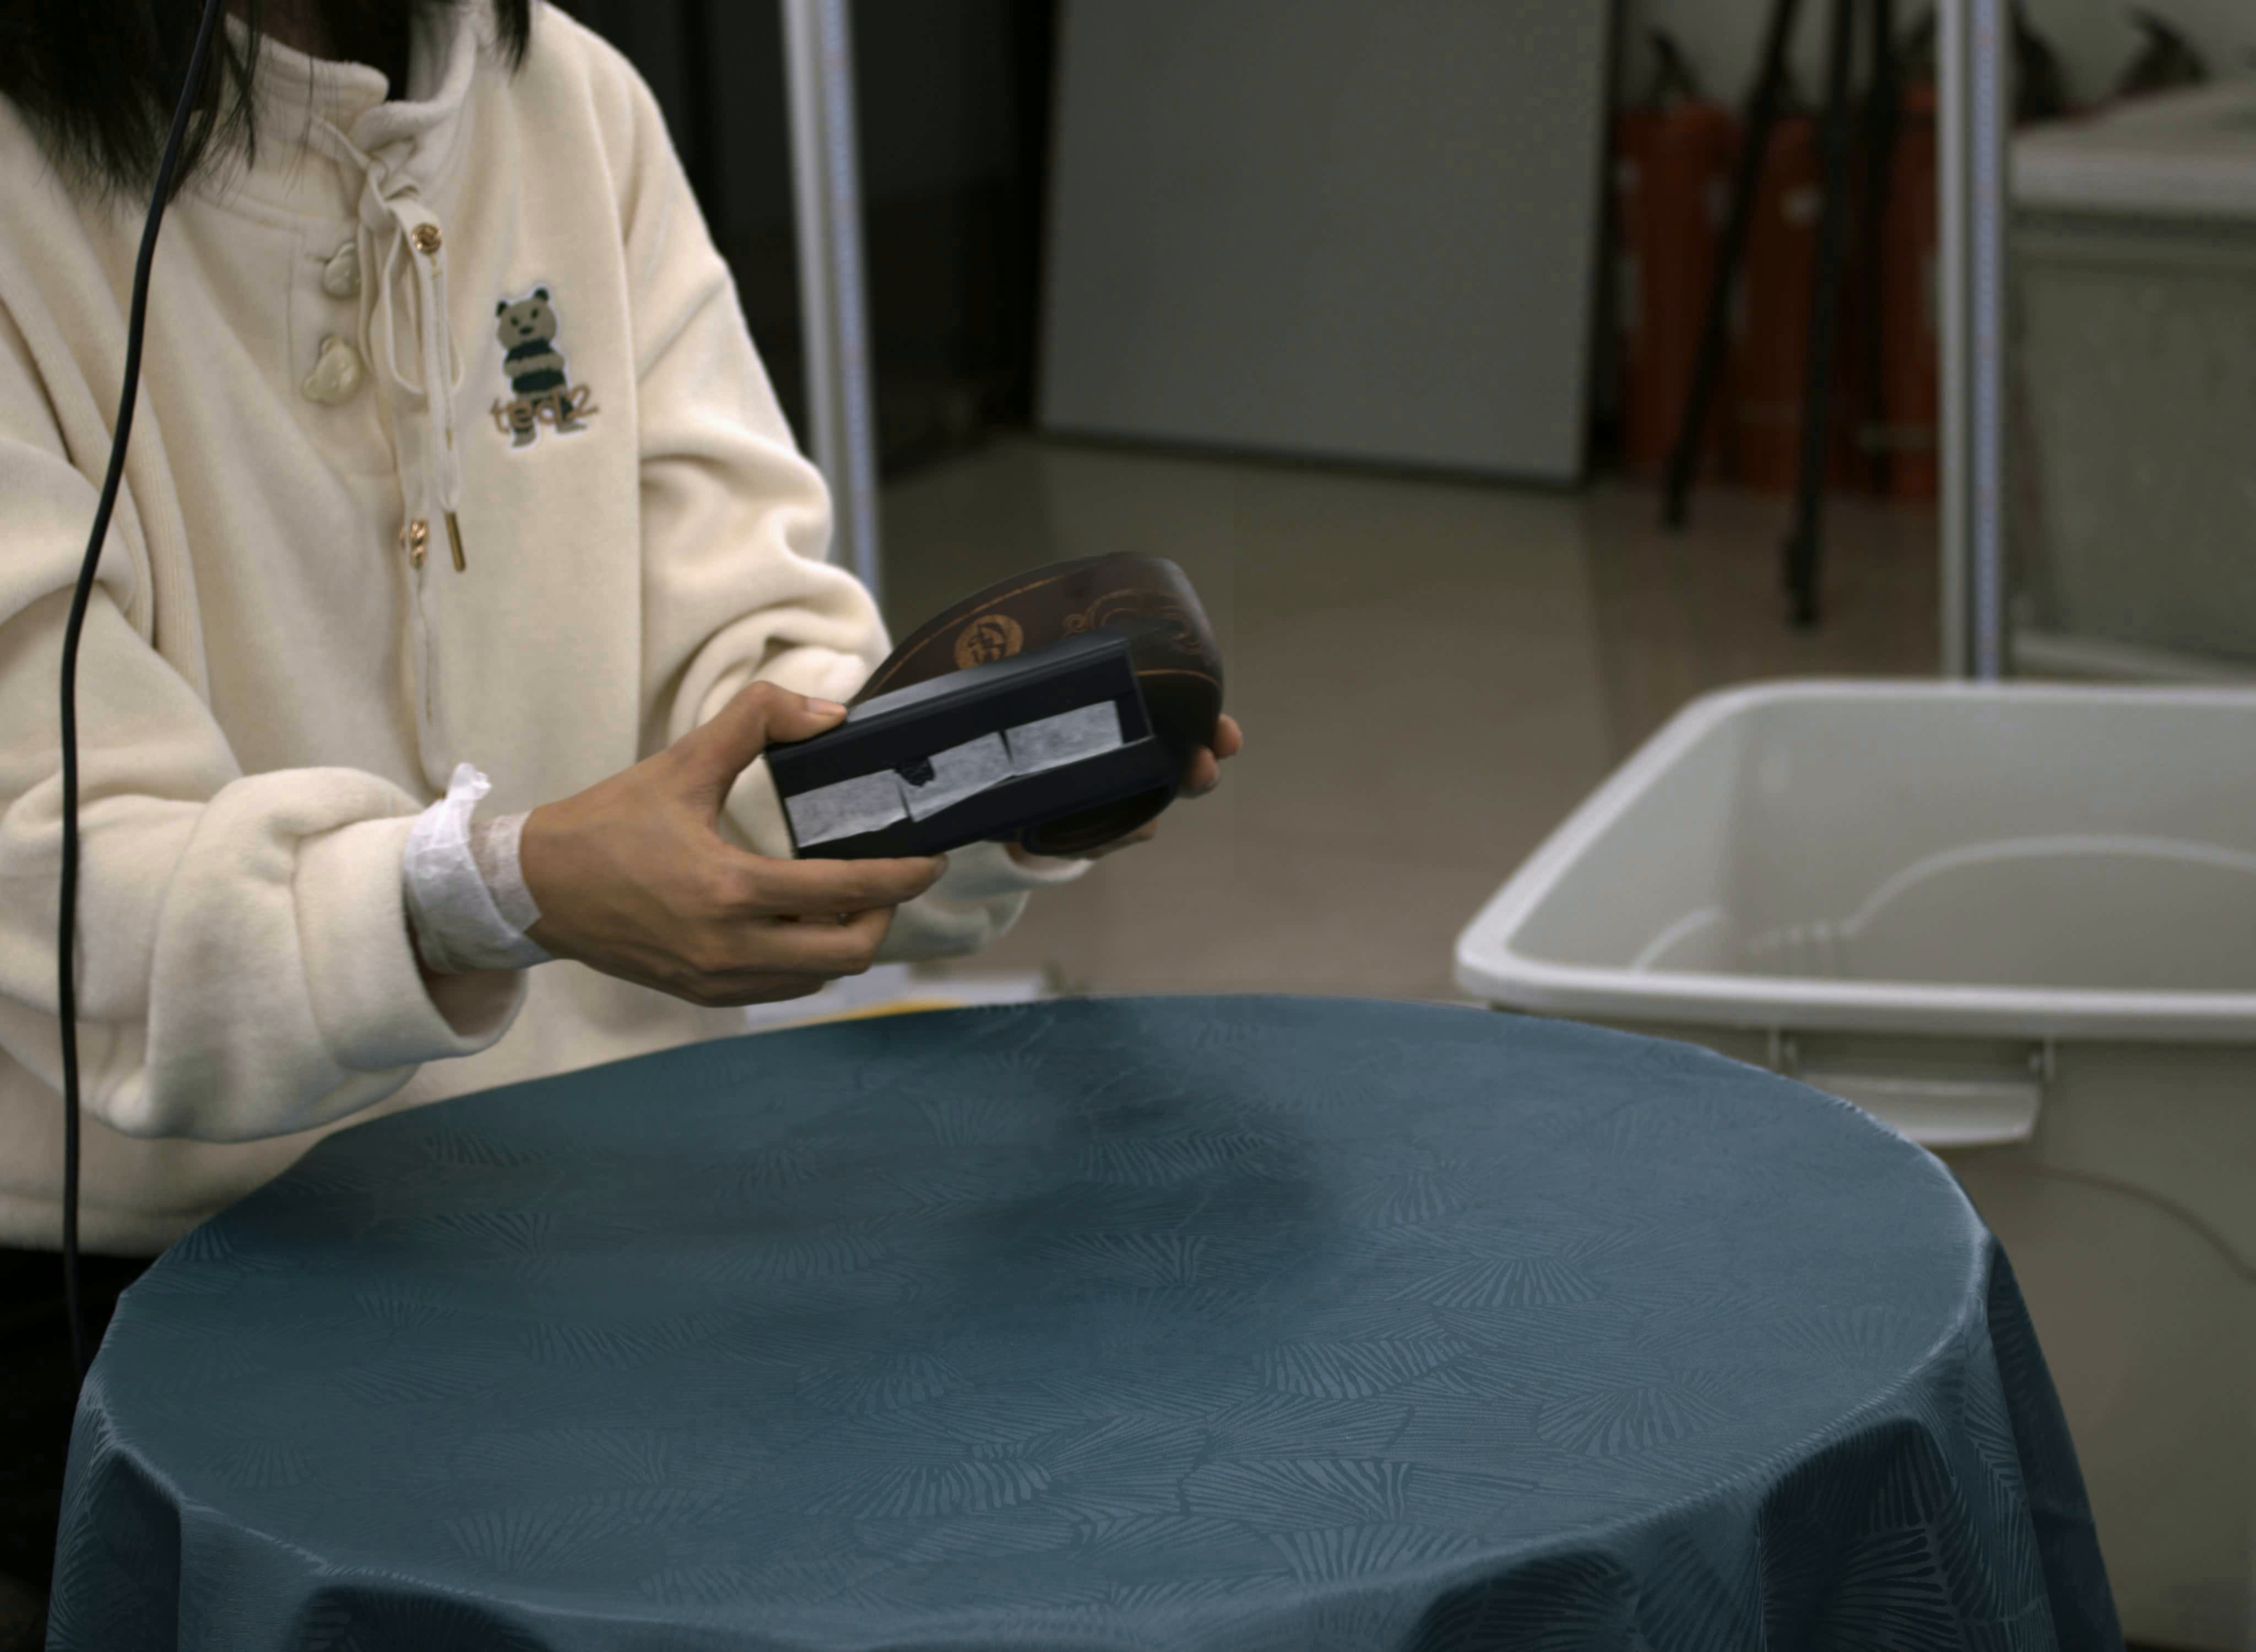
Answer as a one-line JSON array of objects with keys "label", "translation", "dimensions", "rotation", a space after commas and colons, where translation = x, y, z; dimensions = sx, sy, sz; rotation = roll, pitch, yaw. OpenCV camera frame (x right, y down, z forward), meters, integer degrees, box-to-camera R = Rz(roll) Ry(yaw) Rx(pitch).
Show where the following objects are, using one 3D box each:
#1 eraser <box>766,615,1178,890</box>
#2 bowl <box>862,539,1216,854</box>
[{"label": "eraser", "translation": [-0.050, -0.025, 1.727], "dimensions": [0.124, 0.054, 0.030], "rotation": [-18, 12, 2]}, {"label": "bowl", "translation": [-0.024, -0.035, 1.792], "dimensions": [0.116, 0.071, 0.118], "rotation": [-19, -23, -9]}]
